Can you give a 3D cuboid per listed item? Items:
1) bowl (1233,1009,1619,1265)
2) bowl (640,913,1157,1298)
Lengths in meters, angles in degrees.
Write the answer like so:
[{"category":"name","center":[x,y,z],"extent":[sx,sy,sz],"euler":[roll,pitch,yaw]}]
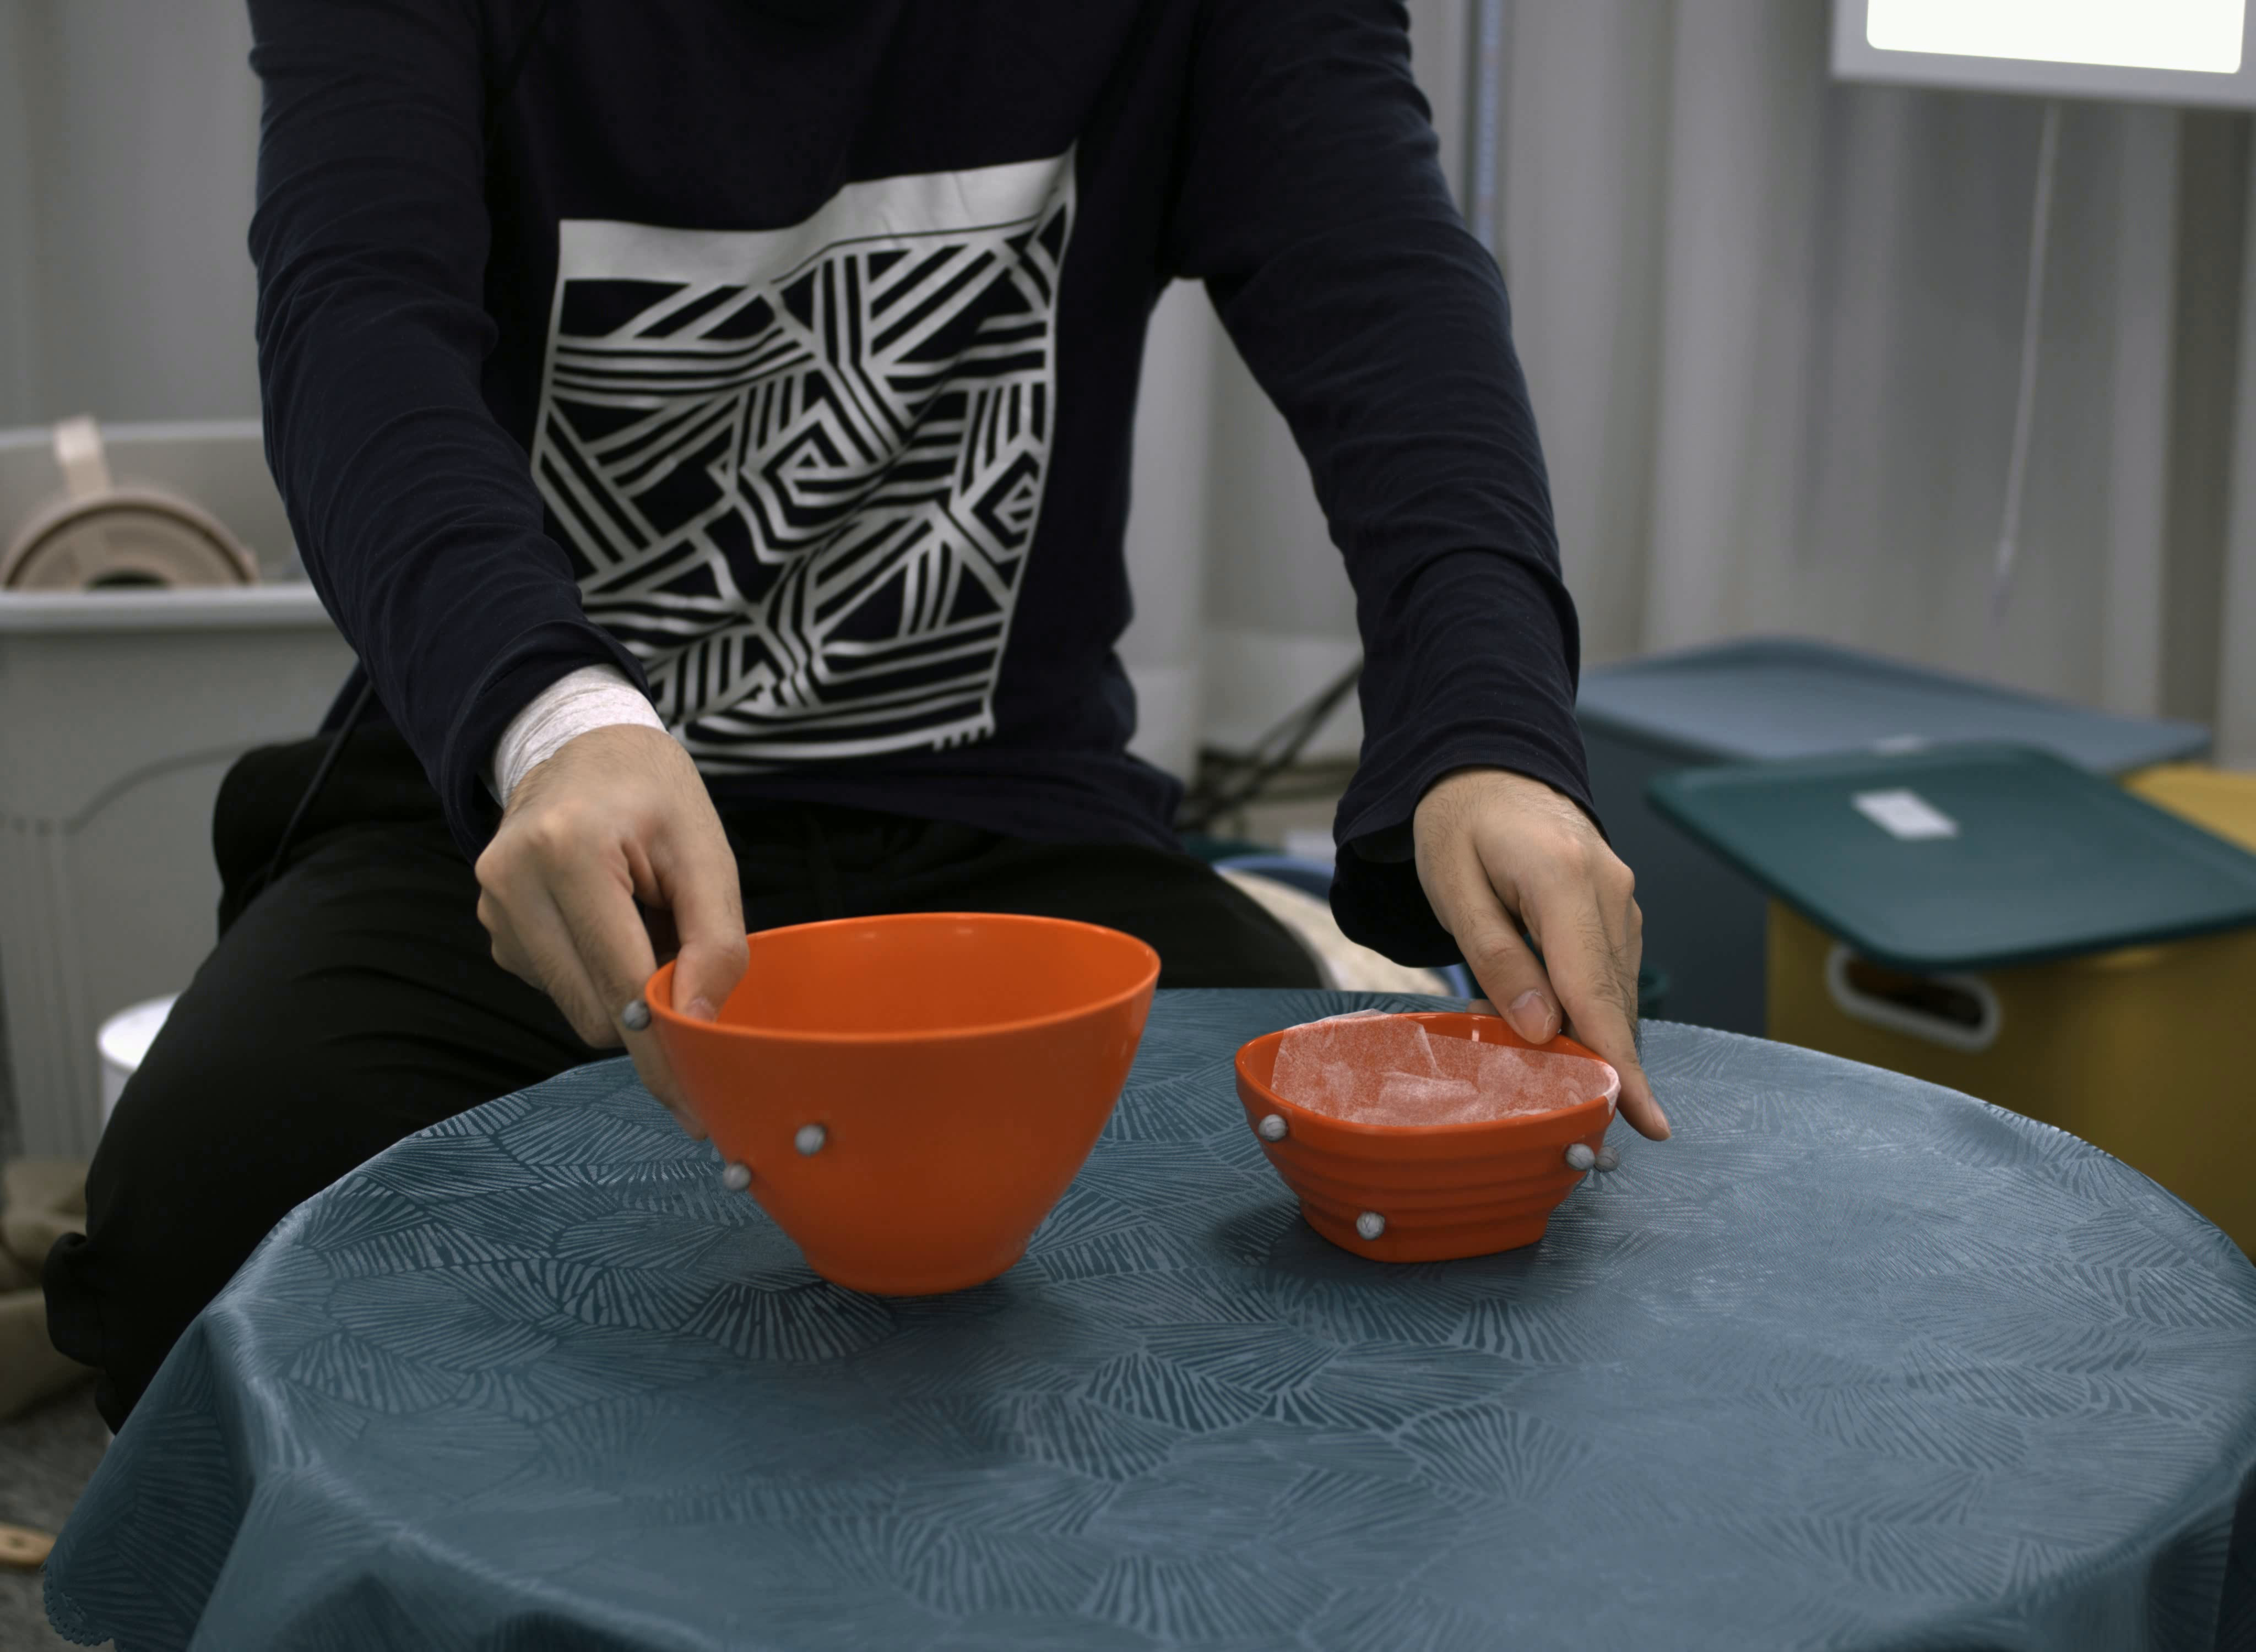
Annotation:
[{"category":"bowl","center":[0.090,0.096,1.593],"extent":[0.118,0.052,0.118],"euler":[-1,16,1]},{"category":"bowl","center":[-0.063,0.079,1.509],"extent":[0.147,0.105,0.147],"euler":[-2,20,1]}]
